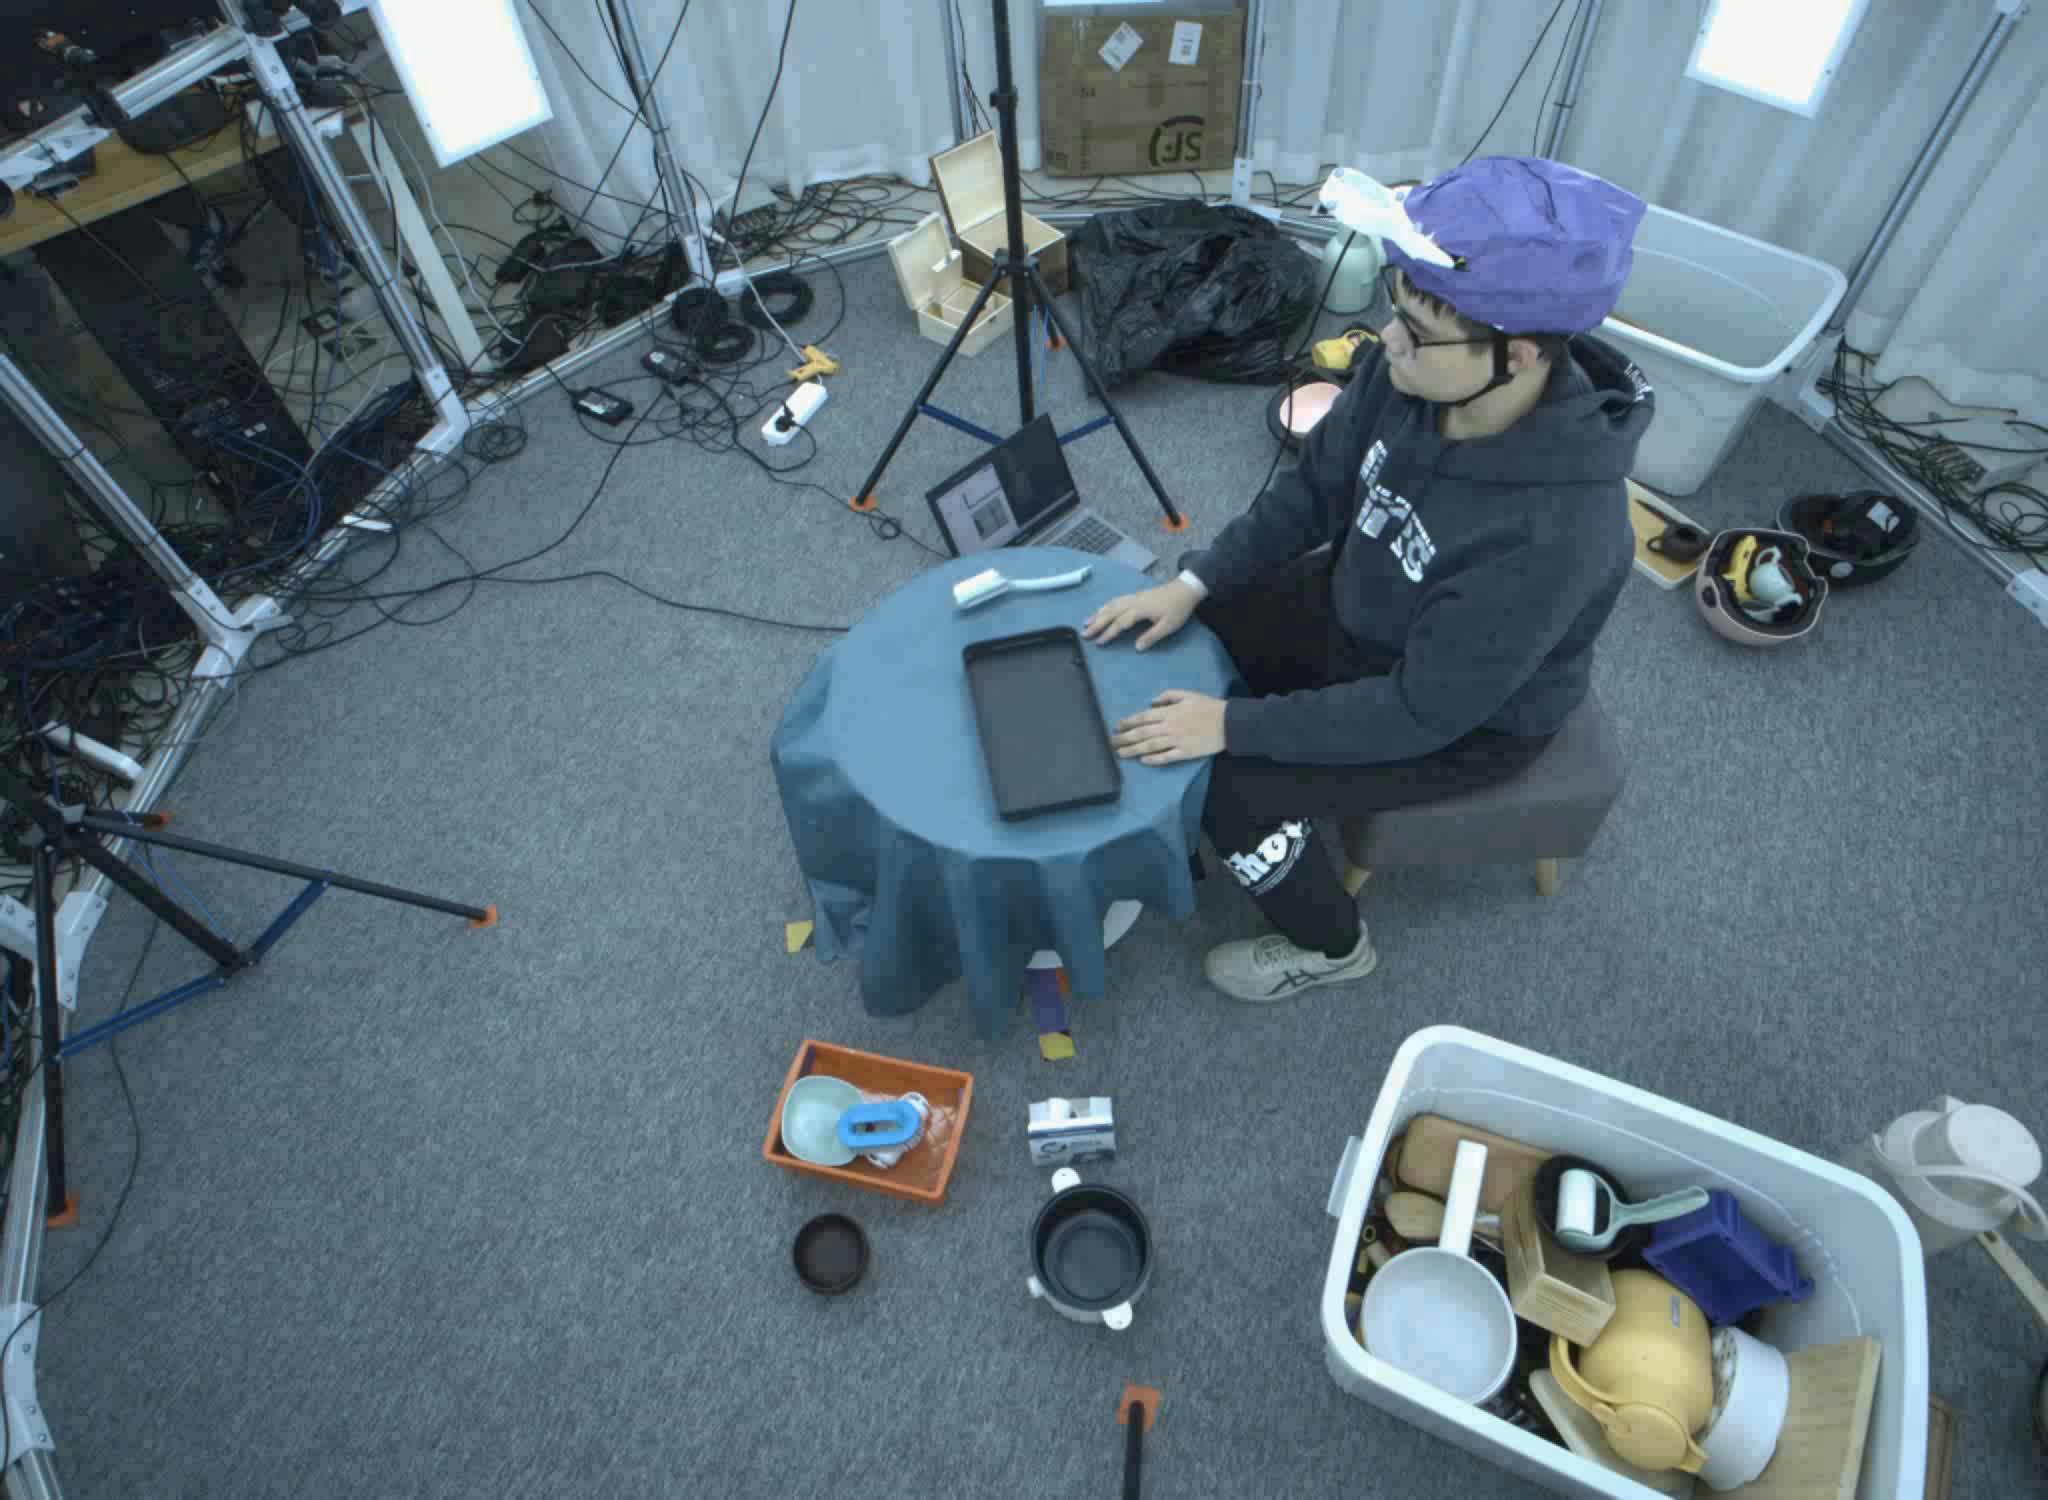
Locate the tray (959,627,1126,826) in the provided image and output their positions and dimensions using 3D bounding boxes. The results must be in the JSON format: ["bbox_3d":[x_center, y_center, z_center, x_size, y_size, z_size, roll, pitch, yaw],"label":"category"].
[{"bbox_3d":[0.023,-0.039,1.793,0.185,0.037,0.313,-11,55,-7],"label":"tray"}]

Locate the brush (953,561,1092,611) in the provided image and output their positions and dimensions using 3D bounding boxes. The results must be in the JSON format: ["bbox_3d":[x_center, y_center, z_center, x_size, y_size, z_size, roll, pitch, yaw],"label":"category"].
[{"bbox_3d":[-0.002,-0.273,1.956,0.230,0.038,0.049,-15,63,-9],"label":"brush"}]
